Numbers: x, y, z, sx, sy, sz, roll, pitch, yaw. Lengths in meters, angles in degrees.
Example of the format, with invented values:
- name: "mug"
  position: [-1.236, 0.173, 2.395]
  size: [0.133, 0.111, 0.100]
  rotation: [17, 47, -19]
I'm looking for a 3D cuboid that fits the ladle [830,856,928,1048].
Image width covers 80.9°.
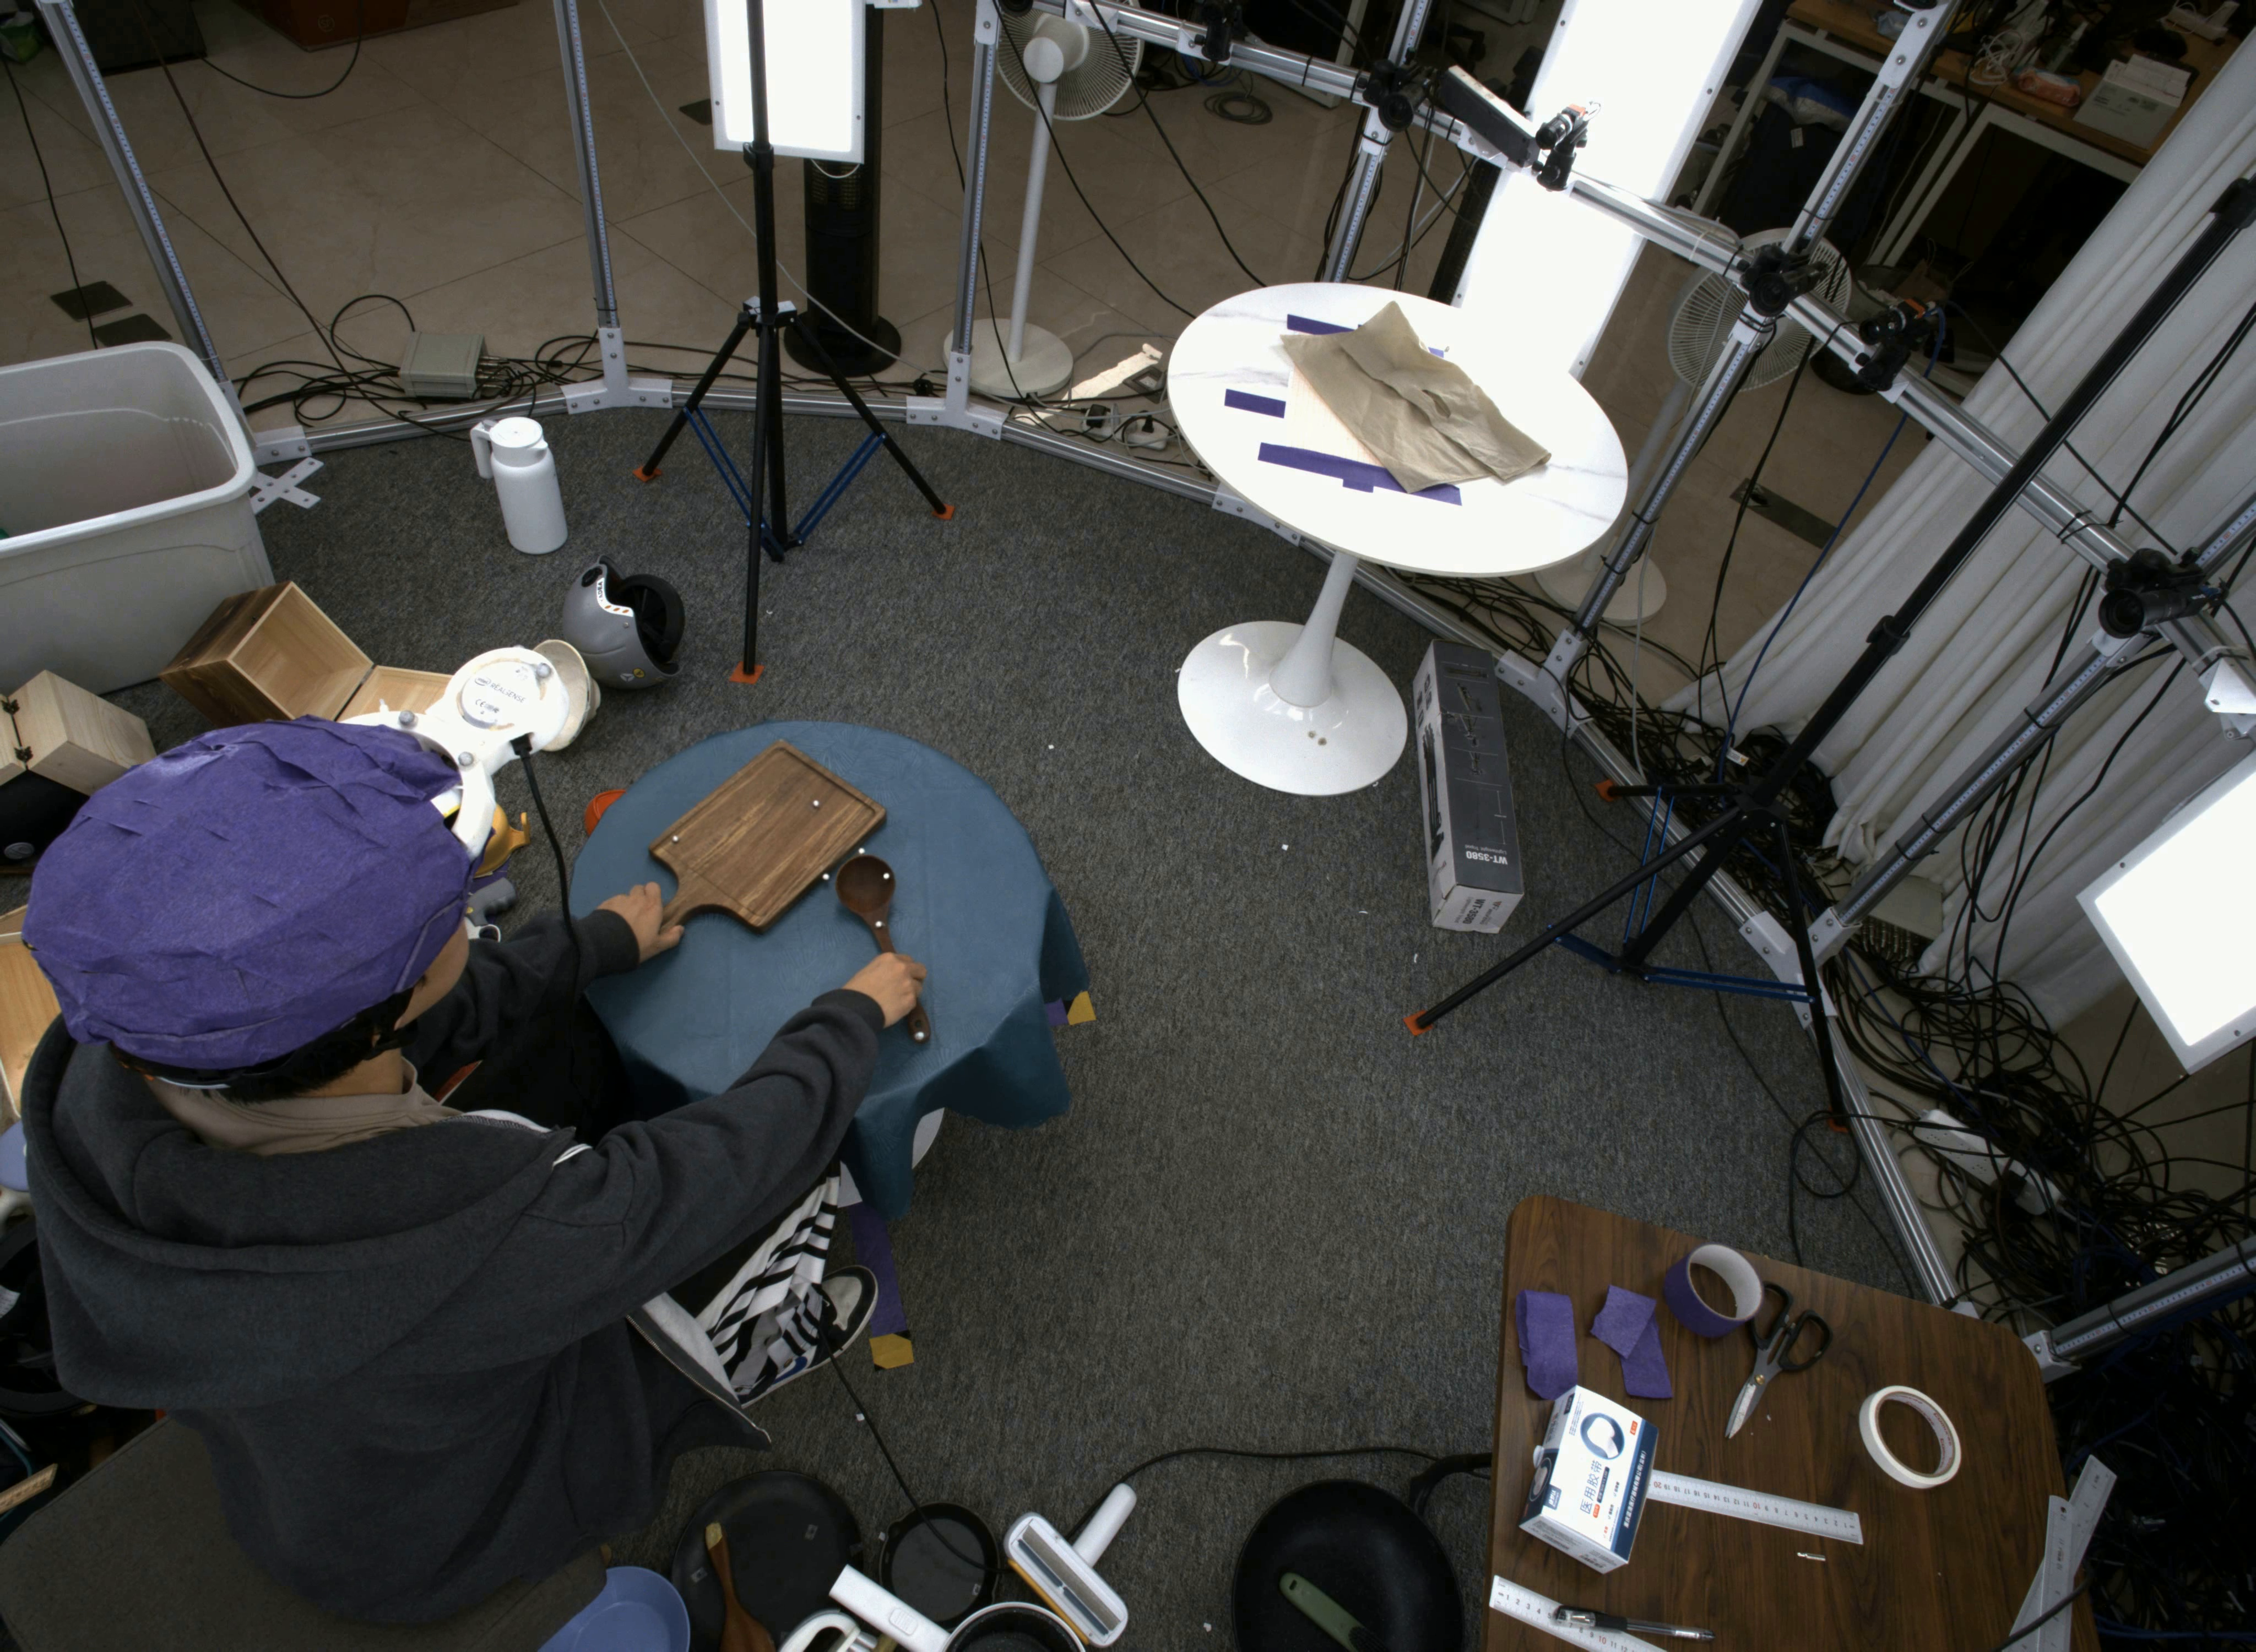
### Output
- name: "ladle"
  position: [-0.302, 0.150, 1.605]
  size: [0.076, 0.067, 0.253]
  rotation: [-22, 60, -10]

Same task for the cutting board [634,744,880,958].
- name: "cutting board"
  position: [-0.503, 0.041, 1.663]
  size: [0.197, 0.024, 0.351]
  rotation: [32, 52, 12]
